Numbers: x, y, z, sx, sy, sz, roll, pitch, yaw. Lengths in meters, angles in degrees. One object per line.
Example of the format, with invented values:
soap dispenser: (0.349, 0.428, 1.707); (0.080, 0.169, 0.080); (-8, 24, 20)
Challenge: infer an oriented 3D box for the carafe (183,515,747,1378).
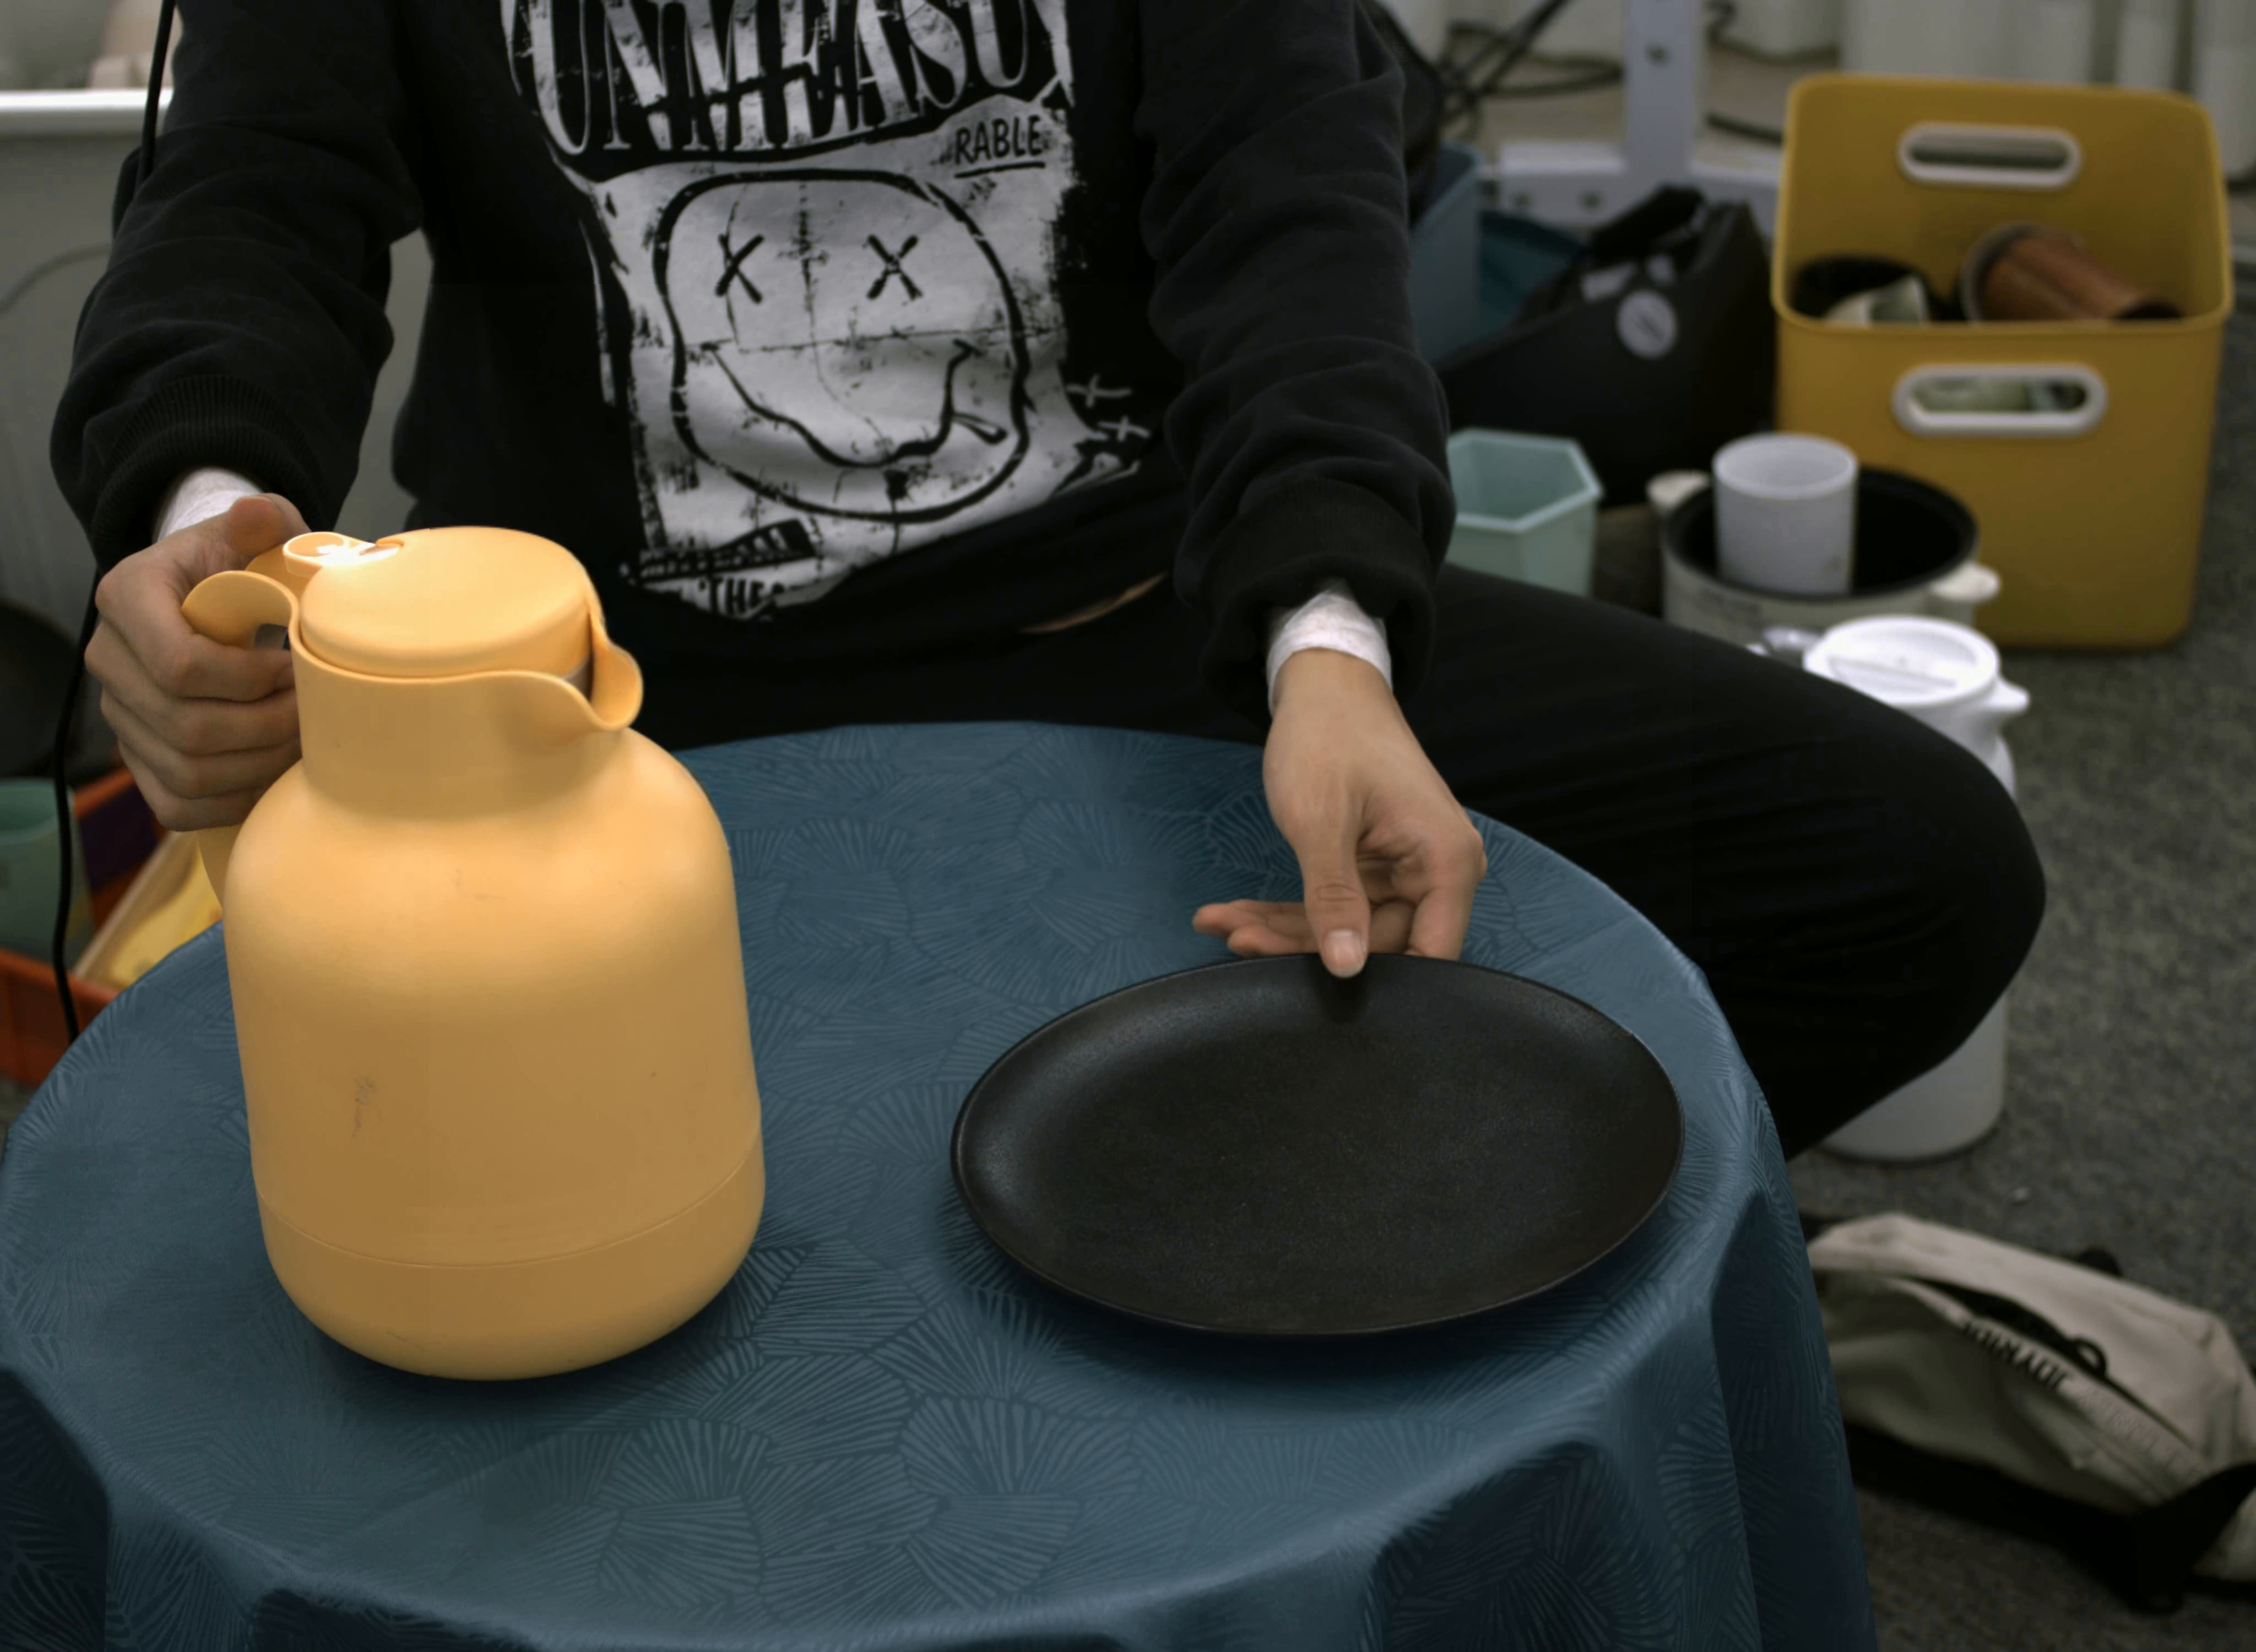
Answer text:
carafe: (-0.218, 0.027, 1.780); (0.202, 0.258, 0.165); (21, 33, 37)

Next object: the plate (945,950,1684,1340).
plate: (0.061, 0.110, 1.851); (0.243, 0.023, 0.248); (-2, 27, 1)
